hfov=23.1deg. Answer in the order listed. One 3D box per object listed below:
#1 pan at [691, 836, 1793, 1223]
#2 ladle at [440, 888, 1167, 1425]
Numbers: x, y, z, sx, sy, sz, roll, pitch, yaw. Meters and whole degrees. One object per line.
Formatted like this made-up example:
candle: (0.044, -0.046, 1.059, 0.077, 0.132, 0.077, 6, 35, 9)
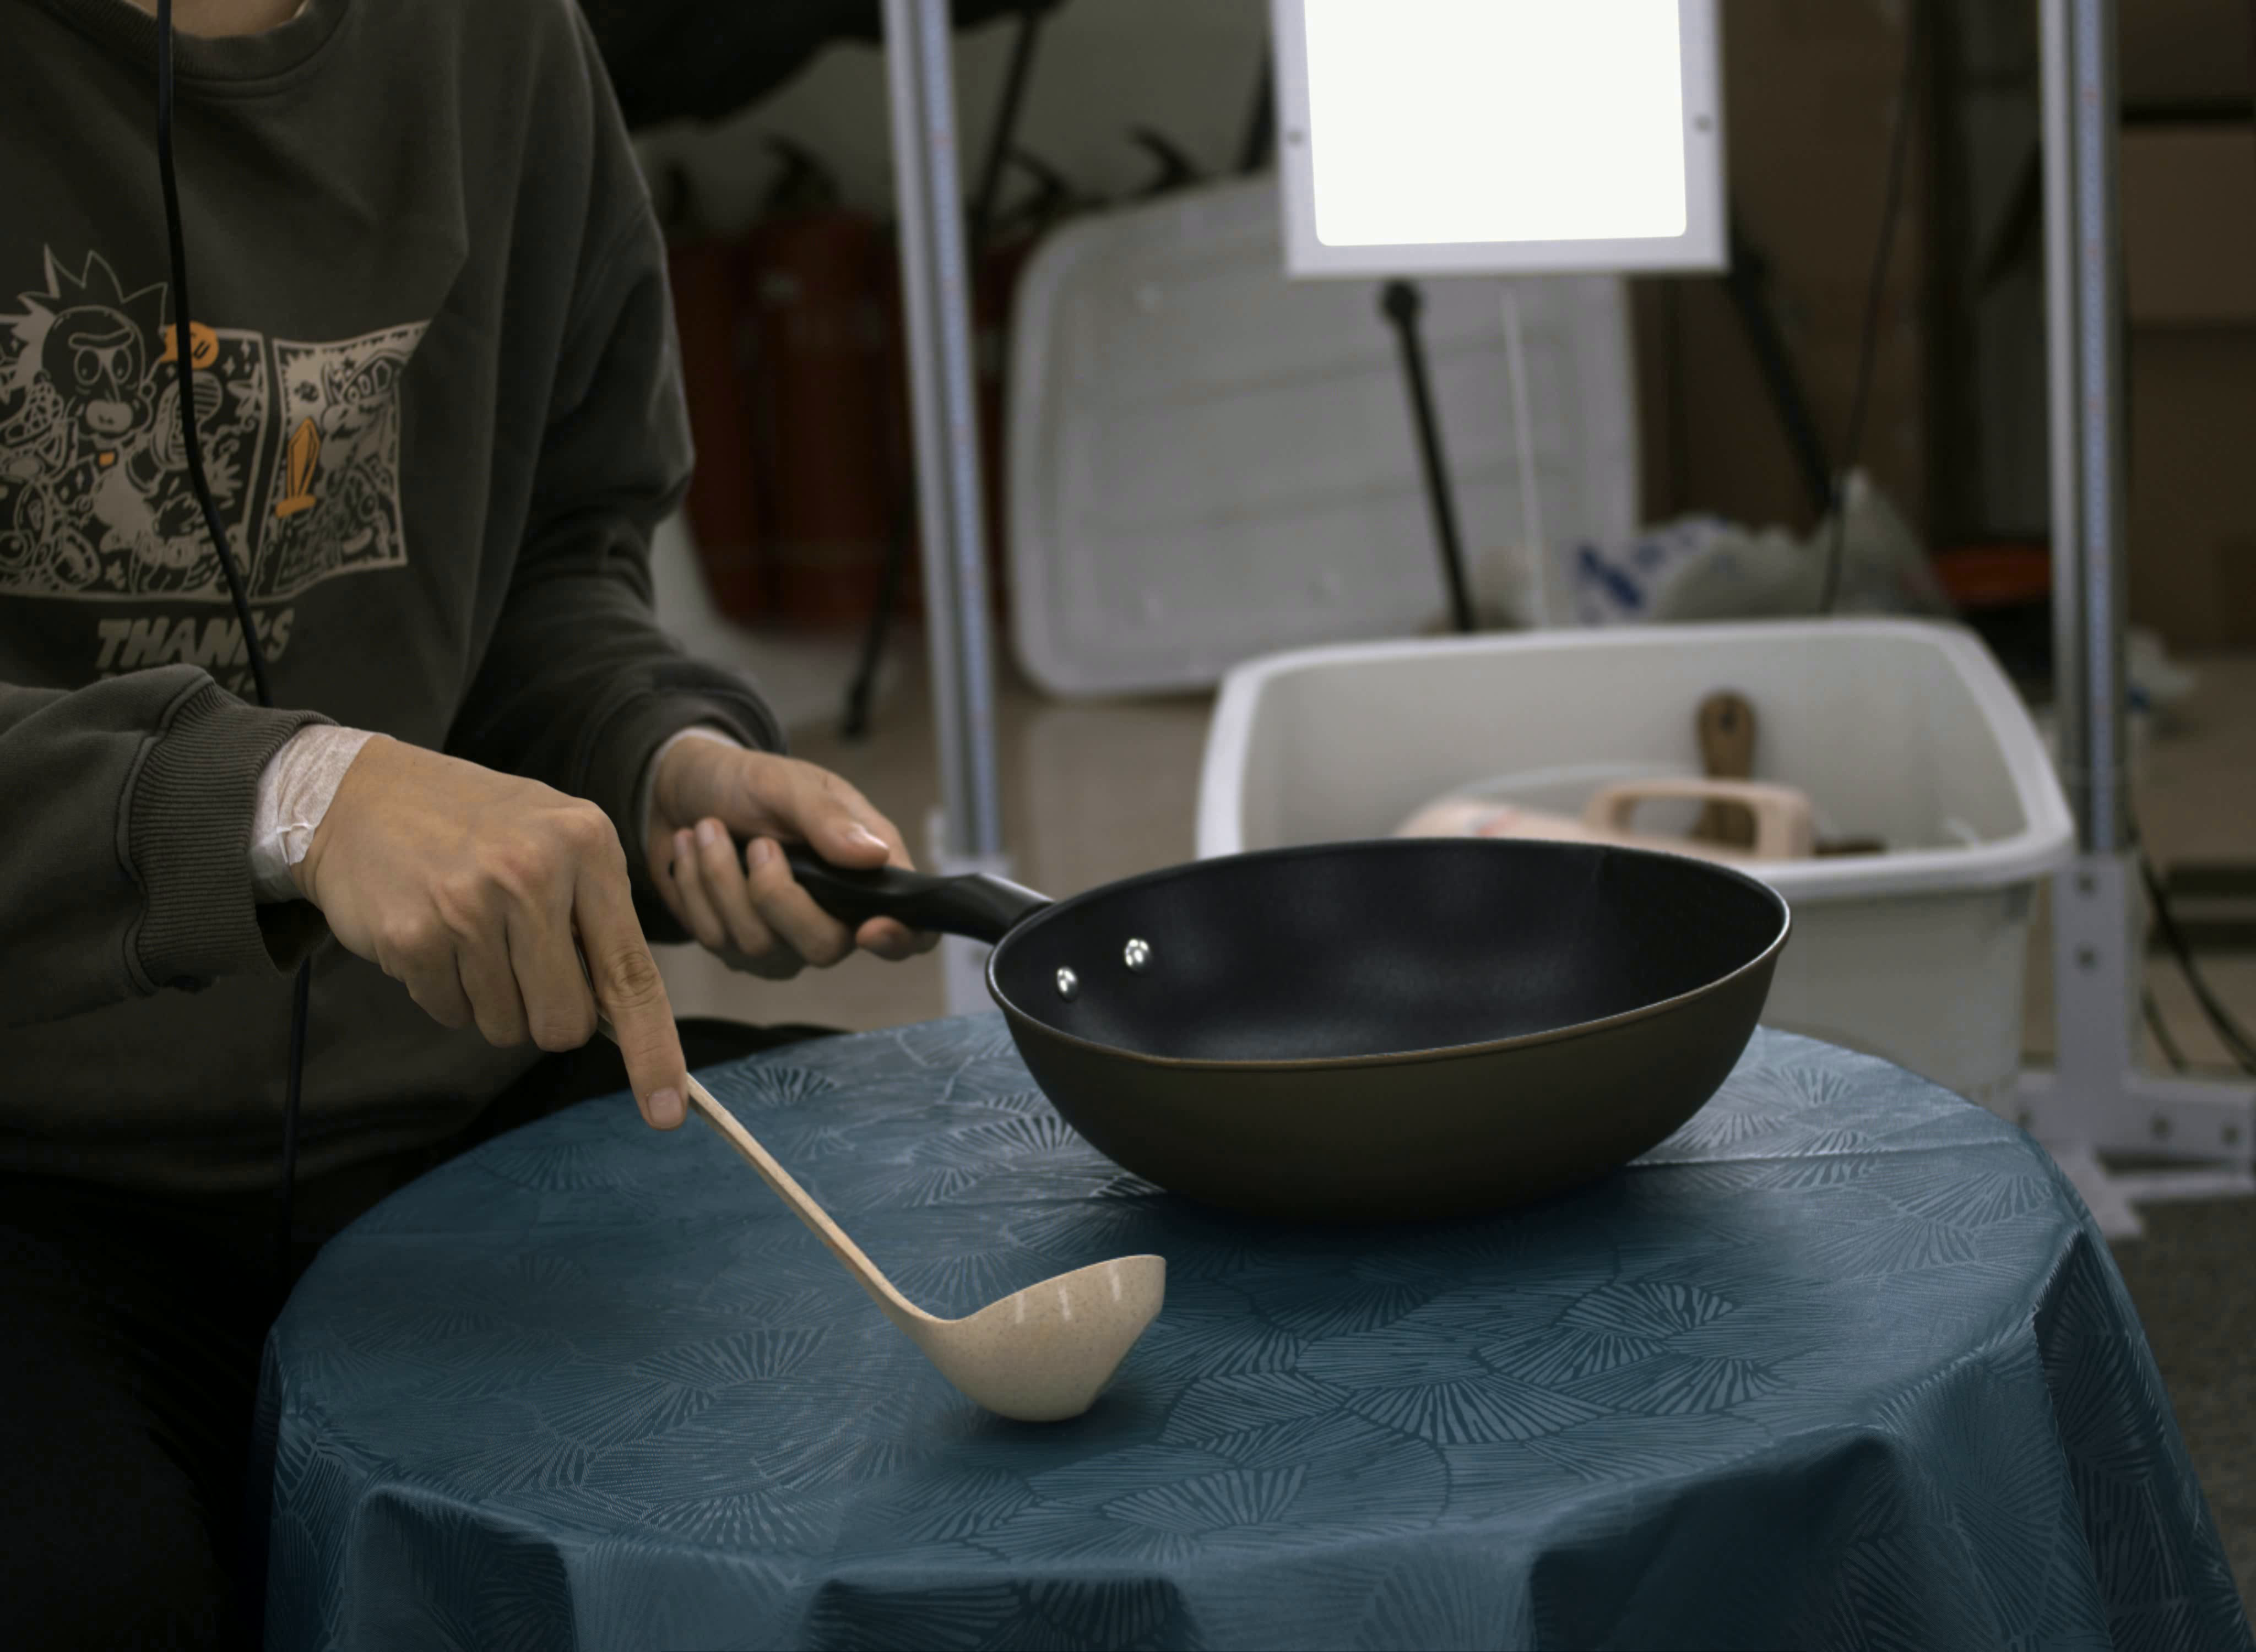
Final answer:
pan: (0.020, 0.068, 1.953, 0.473, 0.087, 0.281, 5, 17, 39)
ladle: (-0.095, 0.082, 1.689, 0.072, 0.255, 0.072, -45, -8, -14)
